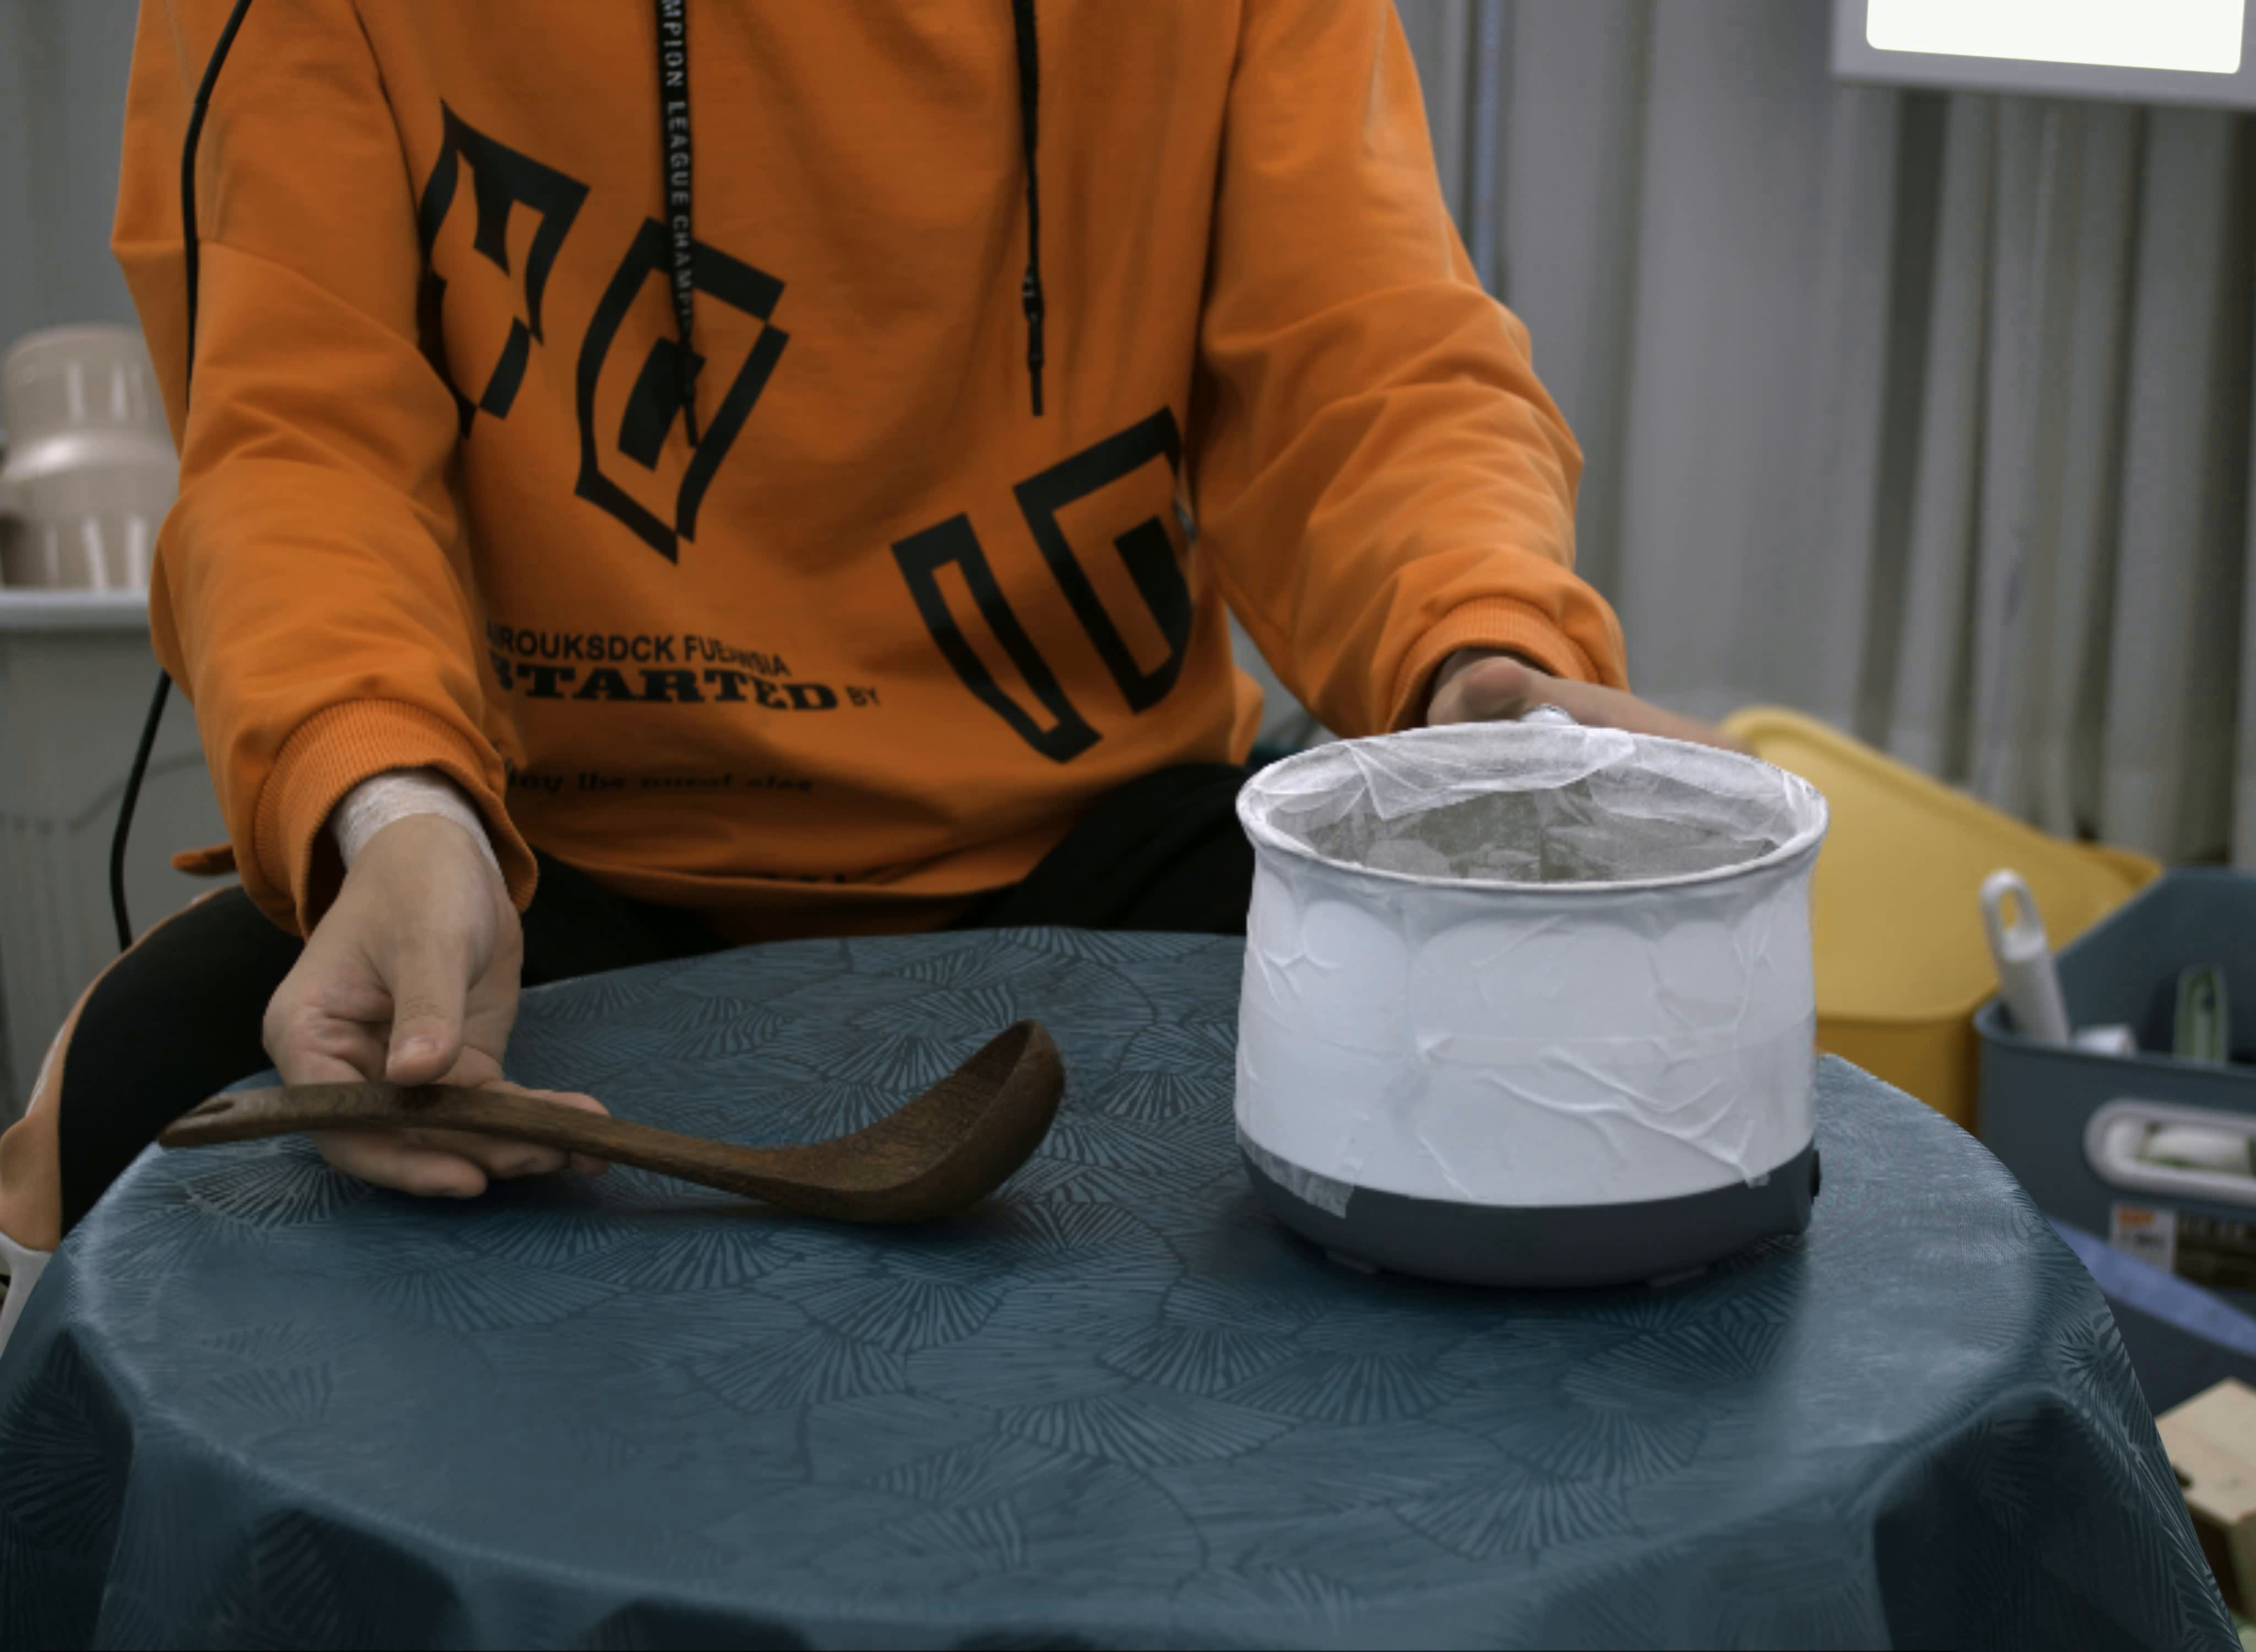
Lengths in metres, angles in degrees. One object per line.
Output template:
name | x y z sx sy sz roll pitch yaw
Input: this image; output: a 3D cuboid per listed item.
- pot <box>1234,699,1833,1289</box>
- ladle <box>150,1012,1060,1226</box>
pot | 0.122 0.046 1.607 0.178 0.138 0.233 2 17 4
ladle | -0.157 0.076 1.590 0.273 0.072 0.075 7 16 1
